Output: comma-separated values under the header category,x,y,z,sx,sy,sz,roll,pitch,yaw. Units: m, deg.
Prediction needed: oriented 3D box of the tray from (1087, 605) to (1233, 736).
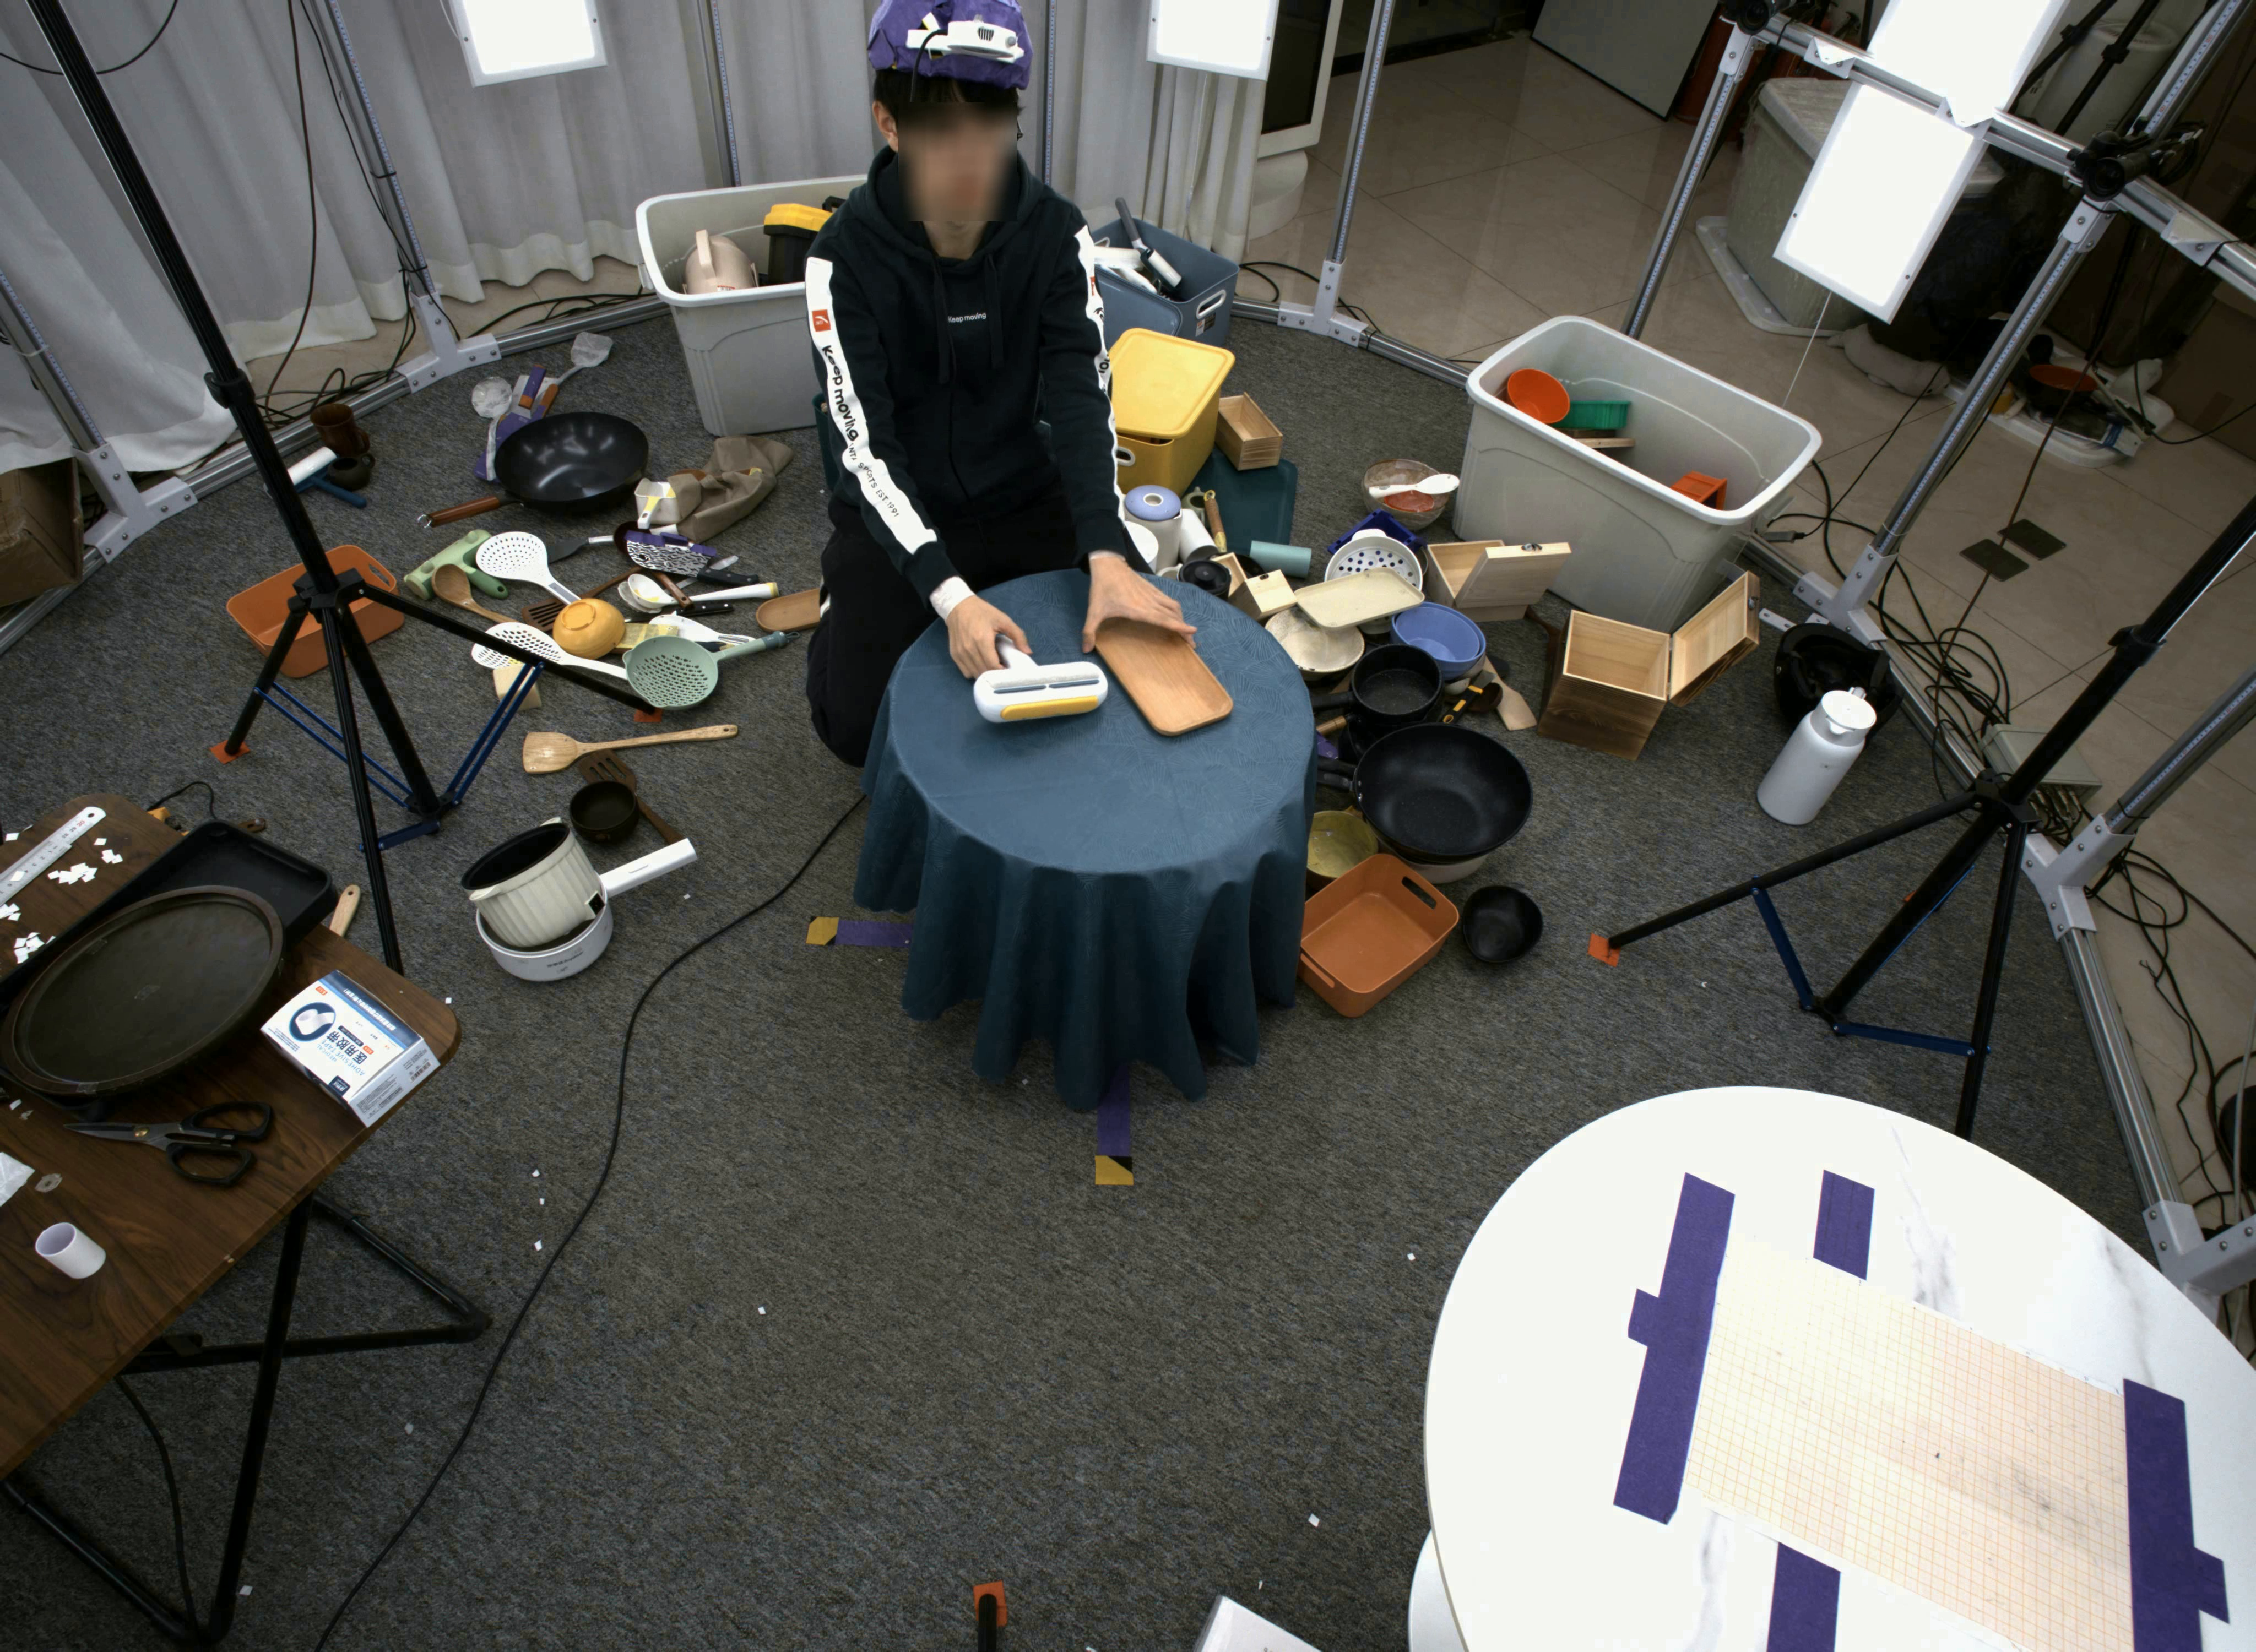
category,x,y,z,sx,sy,sz,roll,pitch,yaw
tray,0.043,-0.228,1.858,0.131,0.022,0.256,-18,52,-21

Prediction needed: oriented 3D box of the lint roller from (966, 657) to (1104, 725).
category,x,y,z,sx,sy,sz,roll,pitch,yaw
lint roller,-0.148,-0.205,1.815,0.192,0.072,0.197,-7,35,-21
